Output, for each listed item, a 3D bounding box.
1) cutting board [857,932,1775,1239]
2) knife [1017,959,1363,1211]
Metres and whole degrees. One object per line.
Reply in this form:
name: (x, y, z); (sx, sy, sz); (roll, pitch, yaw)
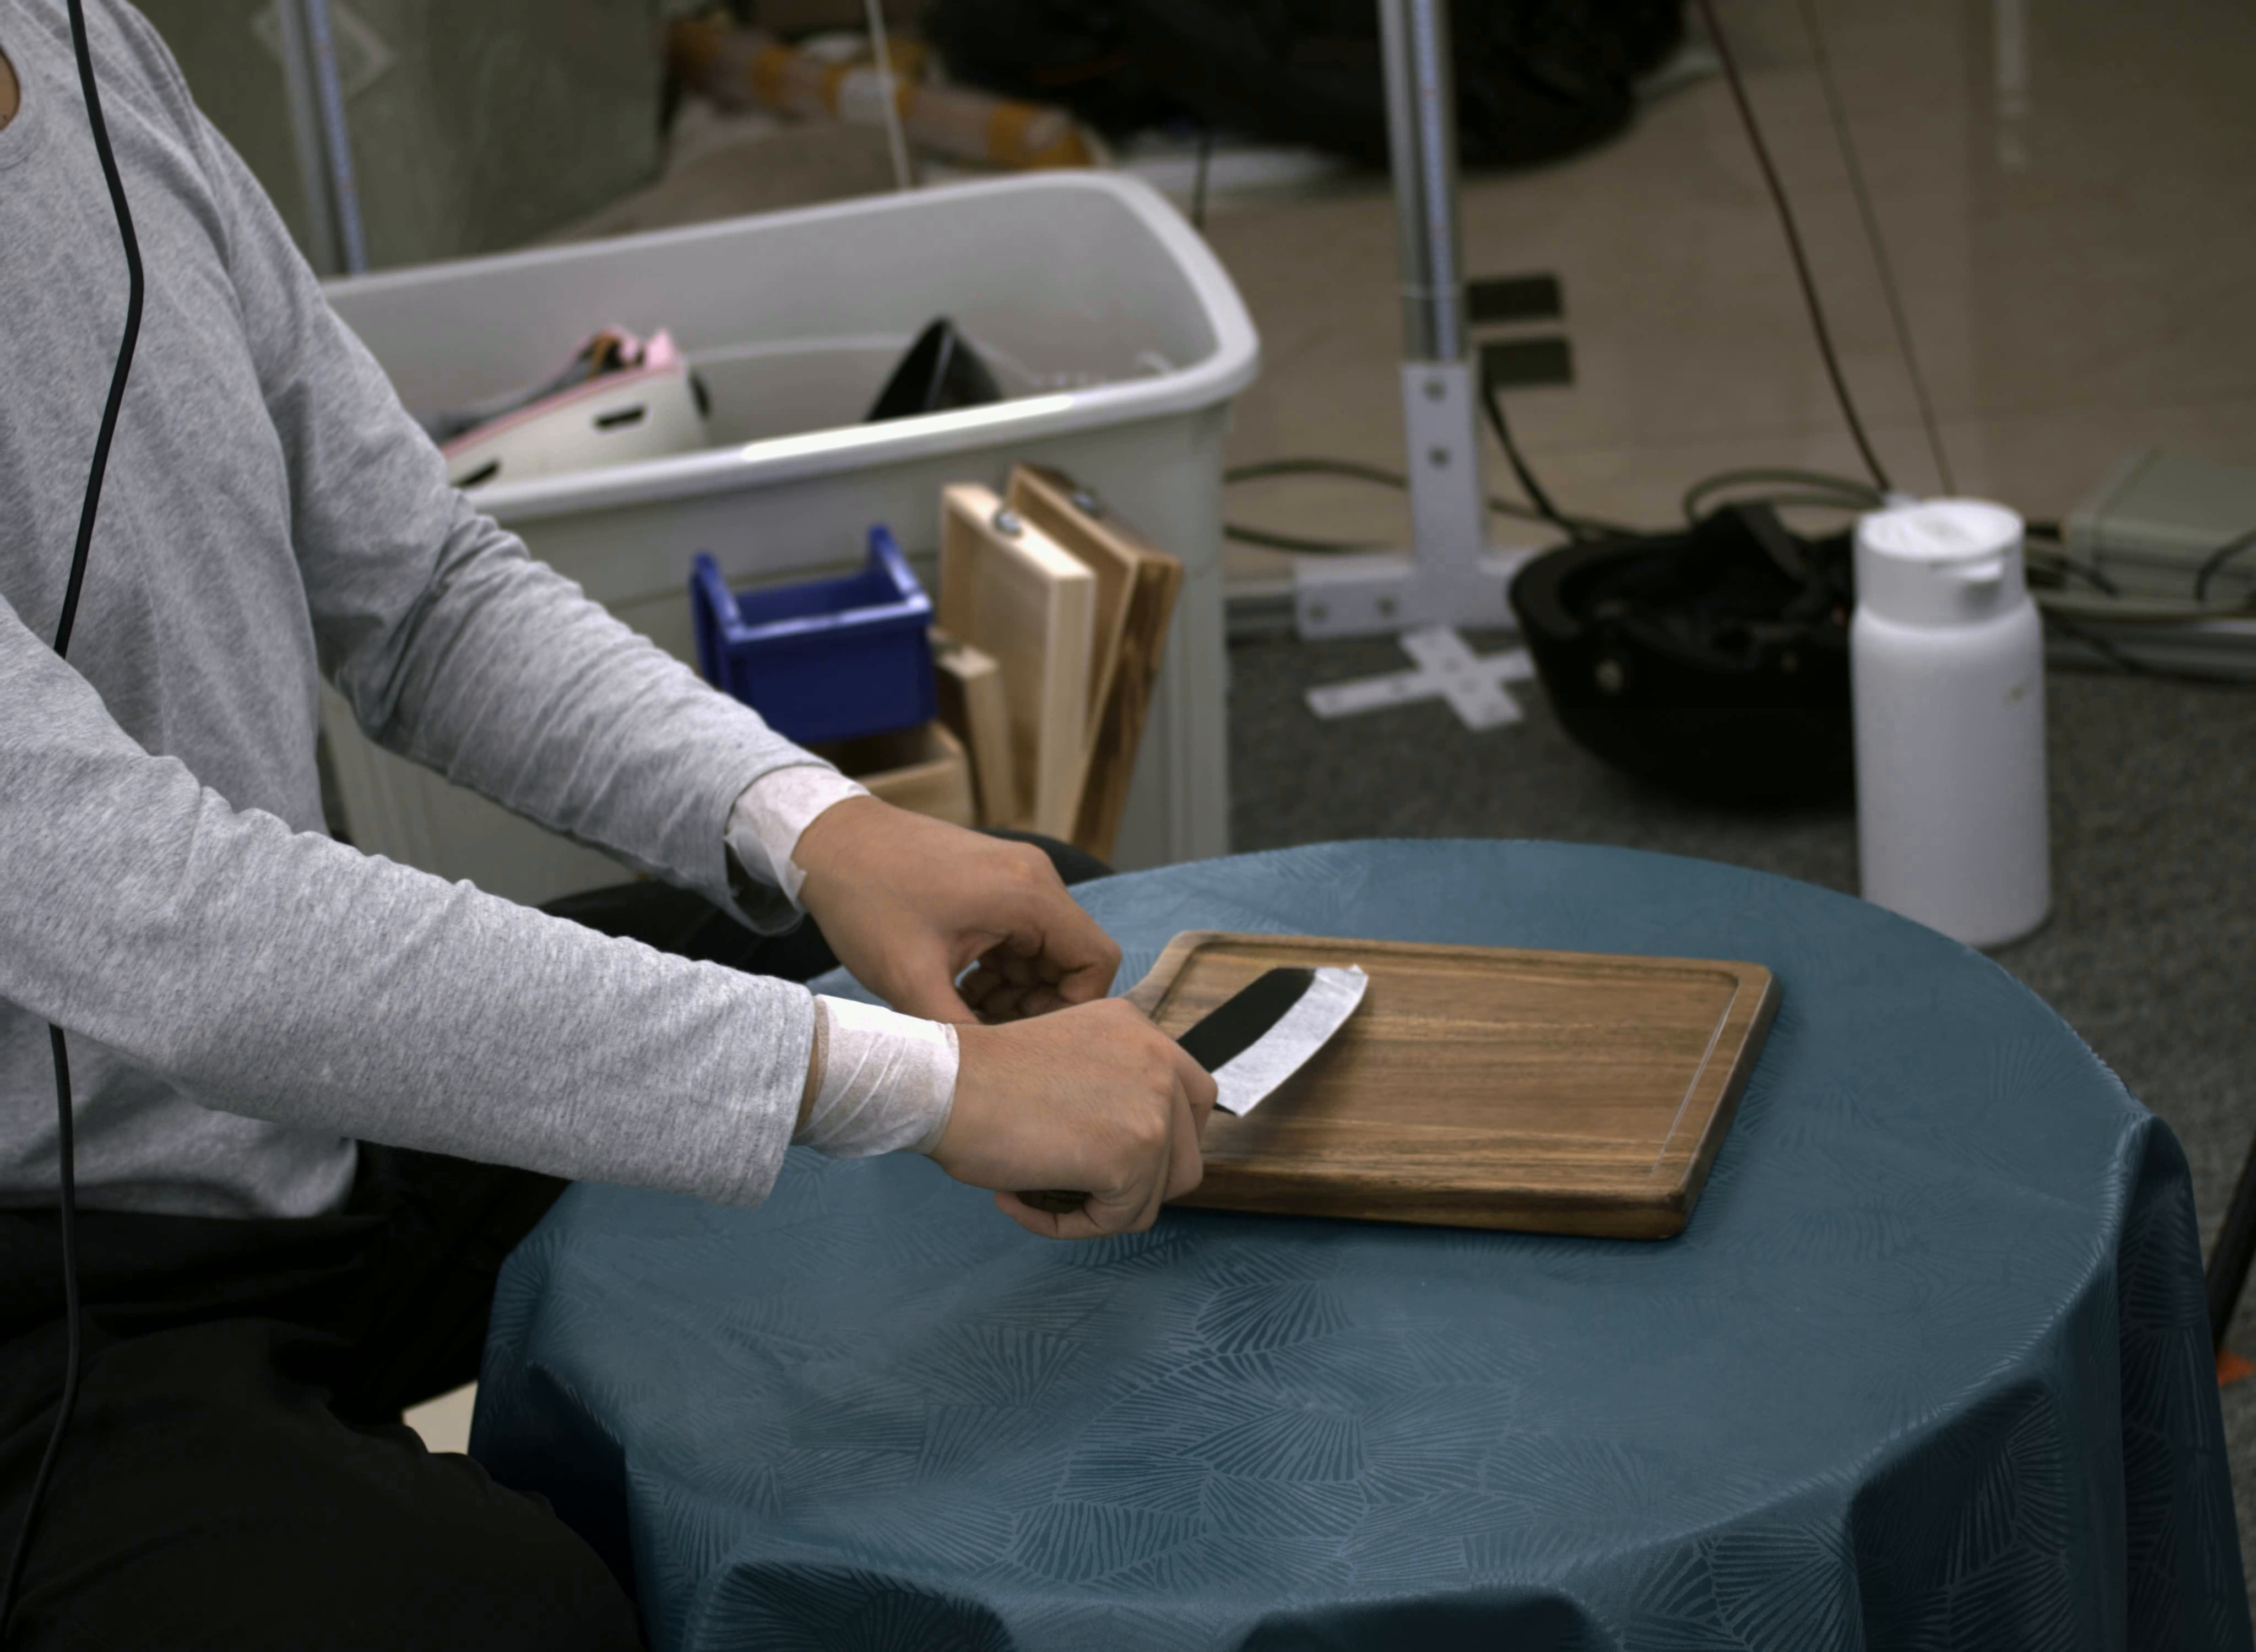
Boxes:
cutting board: (0.062, 0.094, 2.200); (0.351, 0.023, 0.198); (3, 26, 17)
knife: (0.028, 0.091, 2.120); (0.050, 0.020, 0.287); (27, 24, 17)
